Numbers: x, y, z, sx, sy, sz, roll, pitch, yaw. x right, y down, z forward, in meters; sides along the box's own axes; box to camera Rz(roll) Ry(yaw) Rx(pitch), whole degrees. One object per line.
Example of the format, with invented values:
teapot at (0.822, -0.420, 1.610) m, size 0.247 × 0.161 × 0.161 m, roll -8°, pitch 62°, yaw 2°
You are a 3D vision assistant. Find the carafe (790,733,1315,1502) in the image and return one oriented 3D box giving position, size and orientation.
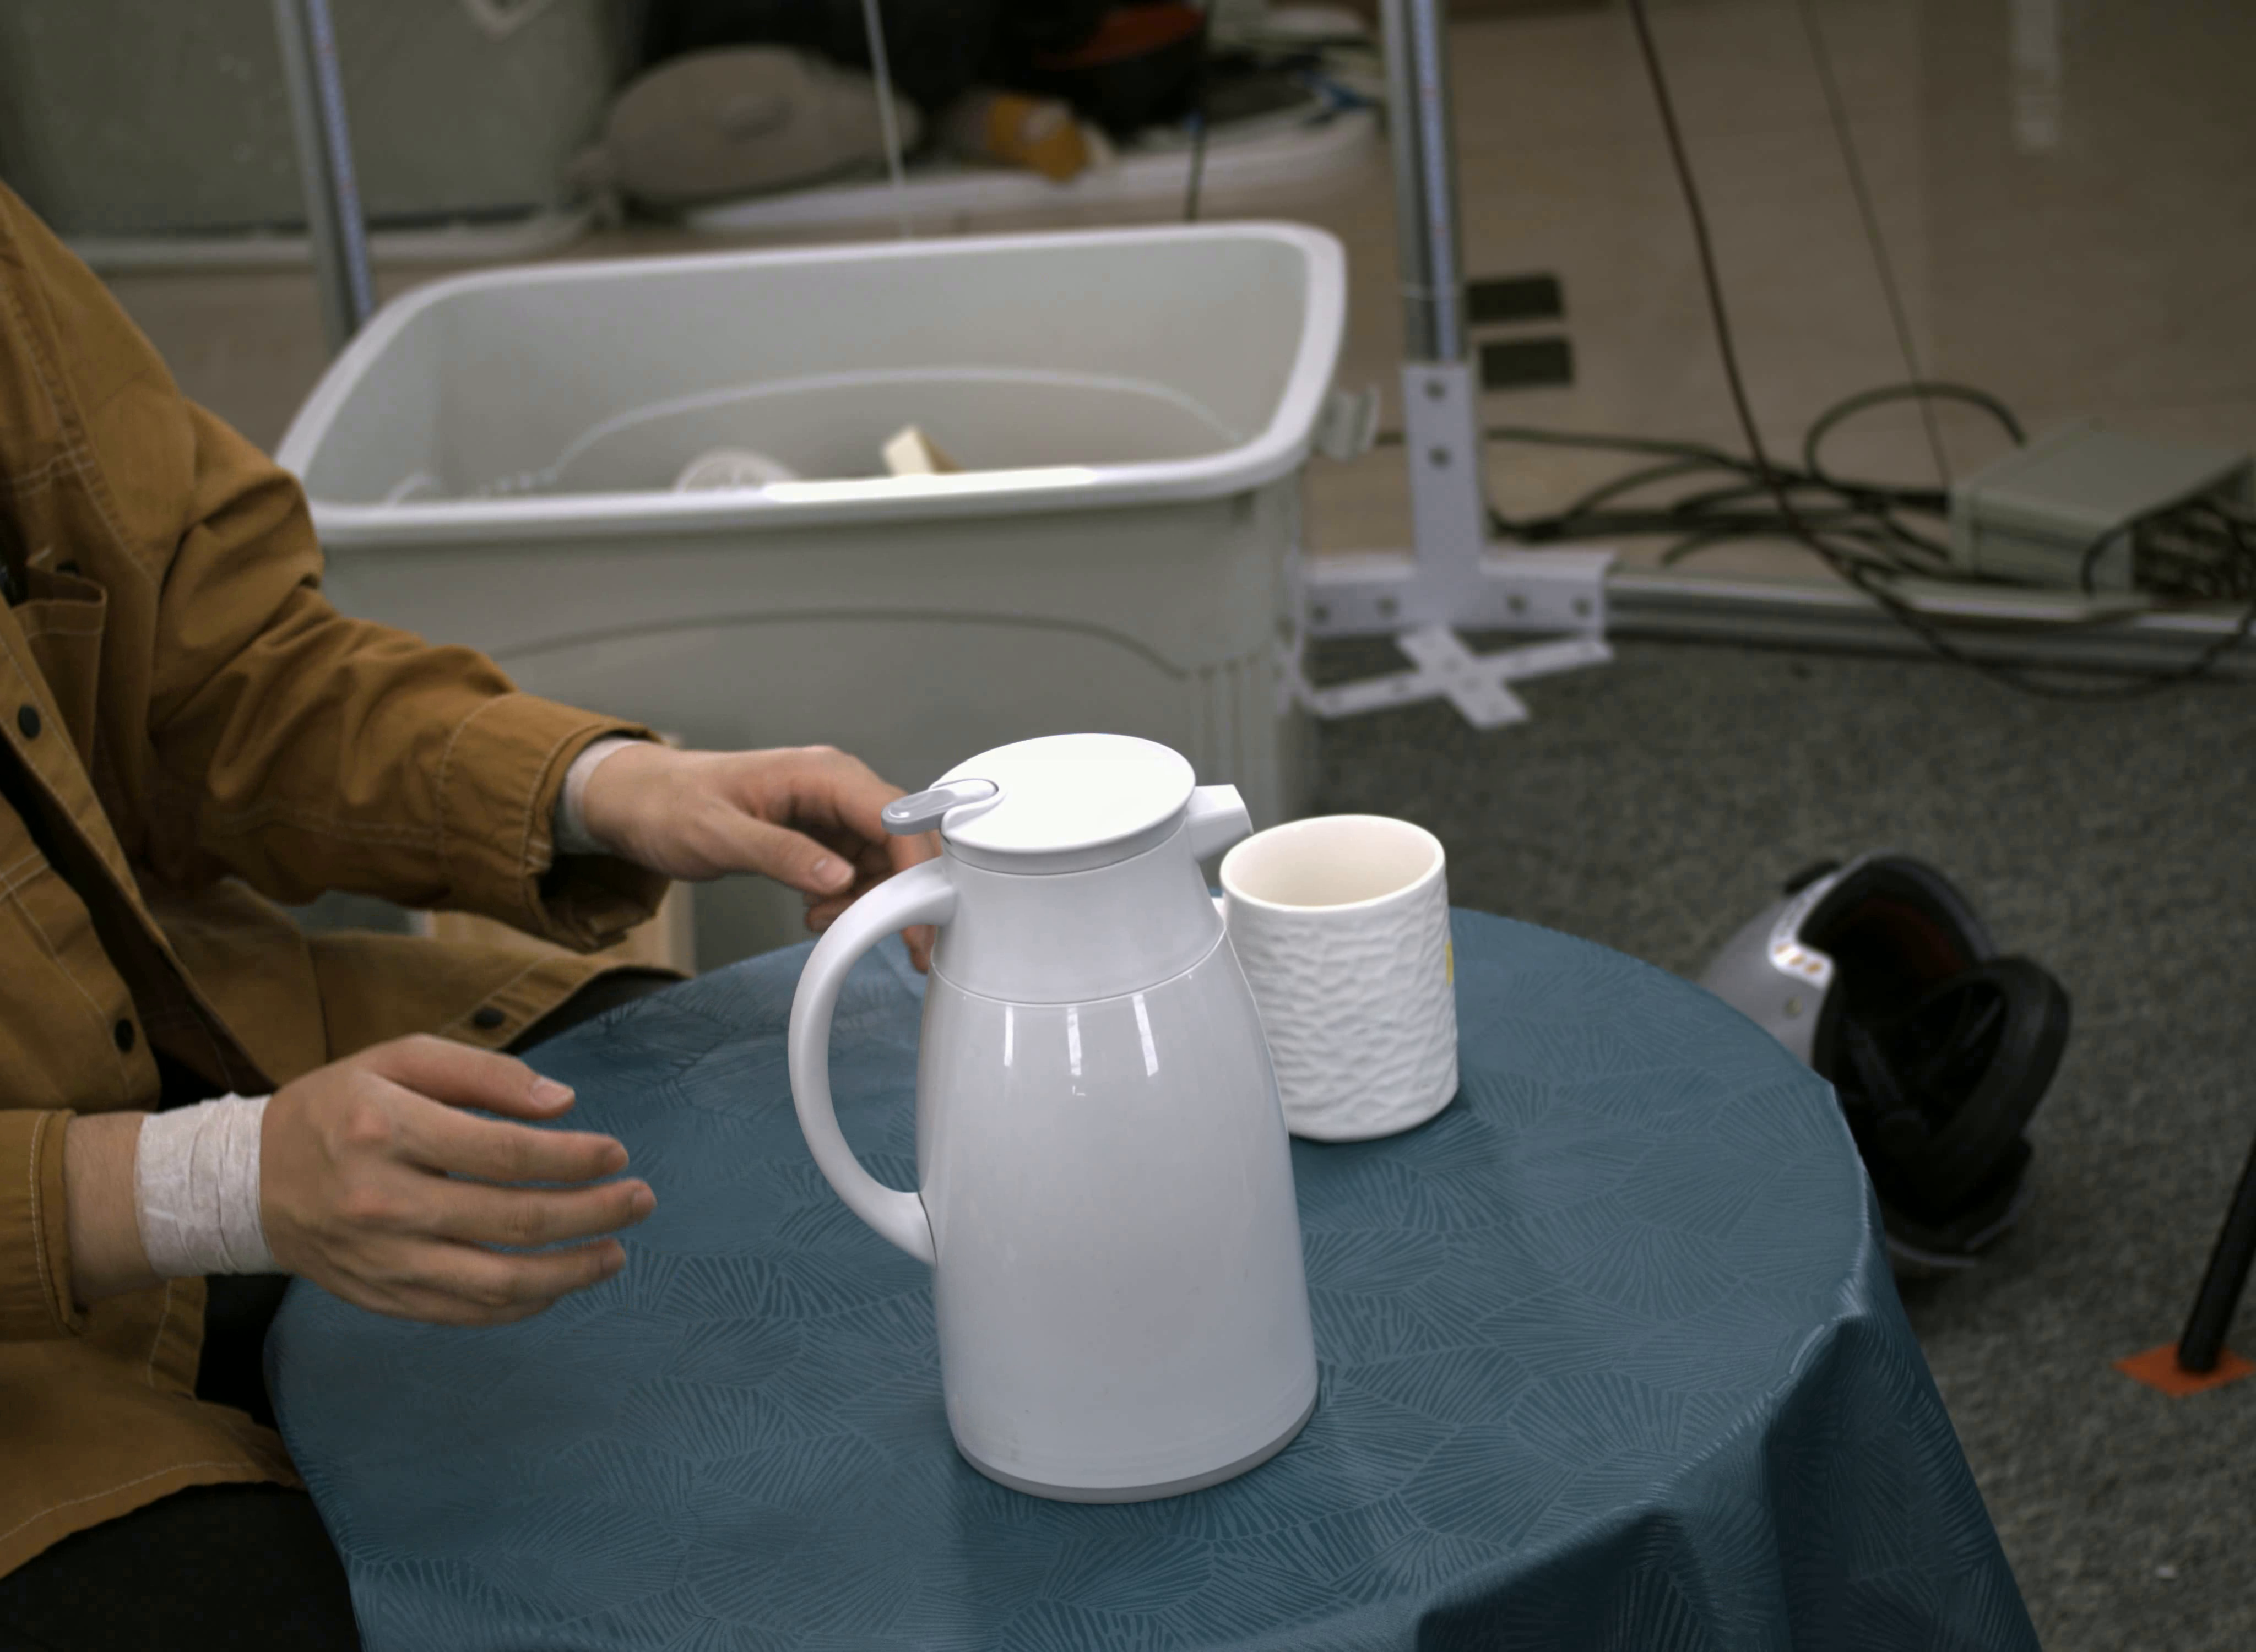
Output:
carafe at (-0.029, 0.097, 1.948) m, size 0.167 × 0.253 × 0.130 m, roll -11°, pitch 27°, yaw -9°

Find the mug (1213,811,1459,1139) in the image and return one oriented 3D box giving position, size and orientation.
mug at (0.068, 0.058, 2.179) m, size 0.118 × 0.103 × 0.083 m, roll 0°, pitch 27°, yaw 9°
